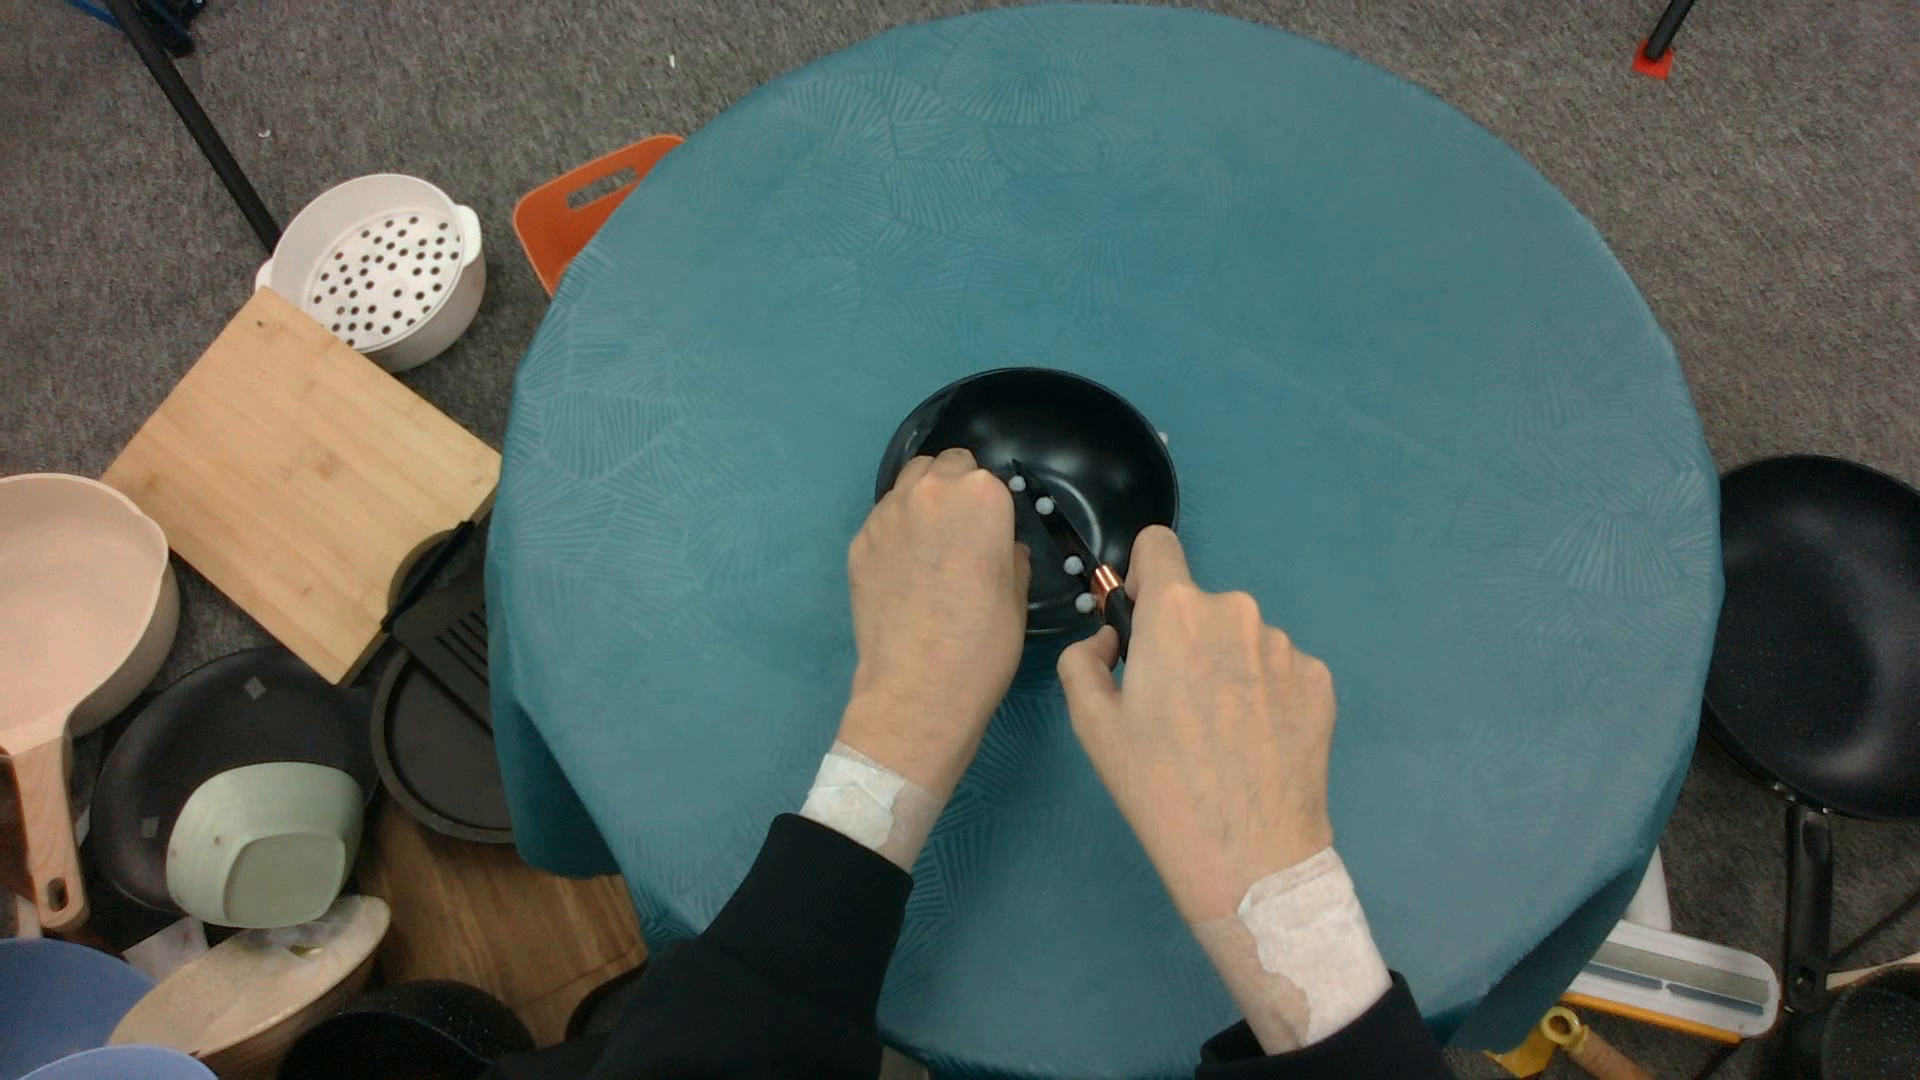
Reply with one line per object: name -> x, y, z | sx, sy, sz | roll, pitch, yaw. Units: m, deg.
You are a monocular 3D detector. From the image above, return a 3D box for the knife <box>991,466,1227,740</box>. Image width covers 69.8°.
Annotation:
knife -> 0.053, 0.013, 0.577 | 0.017, 0.026, 0.226 | -14, 33, -14

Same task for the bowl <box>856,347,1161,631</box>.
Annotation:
bowl -> 0.022, -0.018, 0.645 | 0.140, 0.049, 0.140 | 1, 69, -1
